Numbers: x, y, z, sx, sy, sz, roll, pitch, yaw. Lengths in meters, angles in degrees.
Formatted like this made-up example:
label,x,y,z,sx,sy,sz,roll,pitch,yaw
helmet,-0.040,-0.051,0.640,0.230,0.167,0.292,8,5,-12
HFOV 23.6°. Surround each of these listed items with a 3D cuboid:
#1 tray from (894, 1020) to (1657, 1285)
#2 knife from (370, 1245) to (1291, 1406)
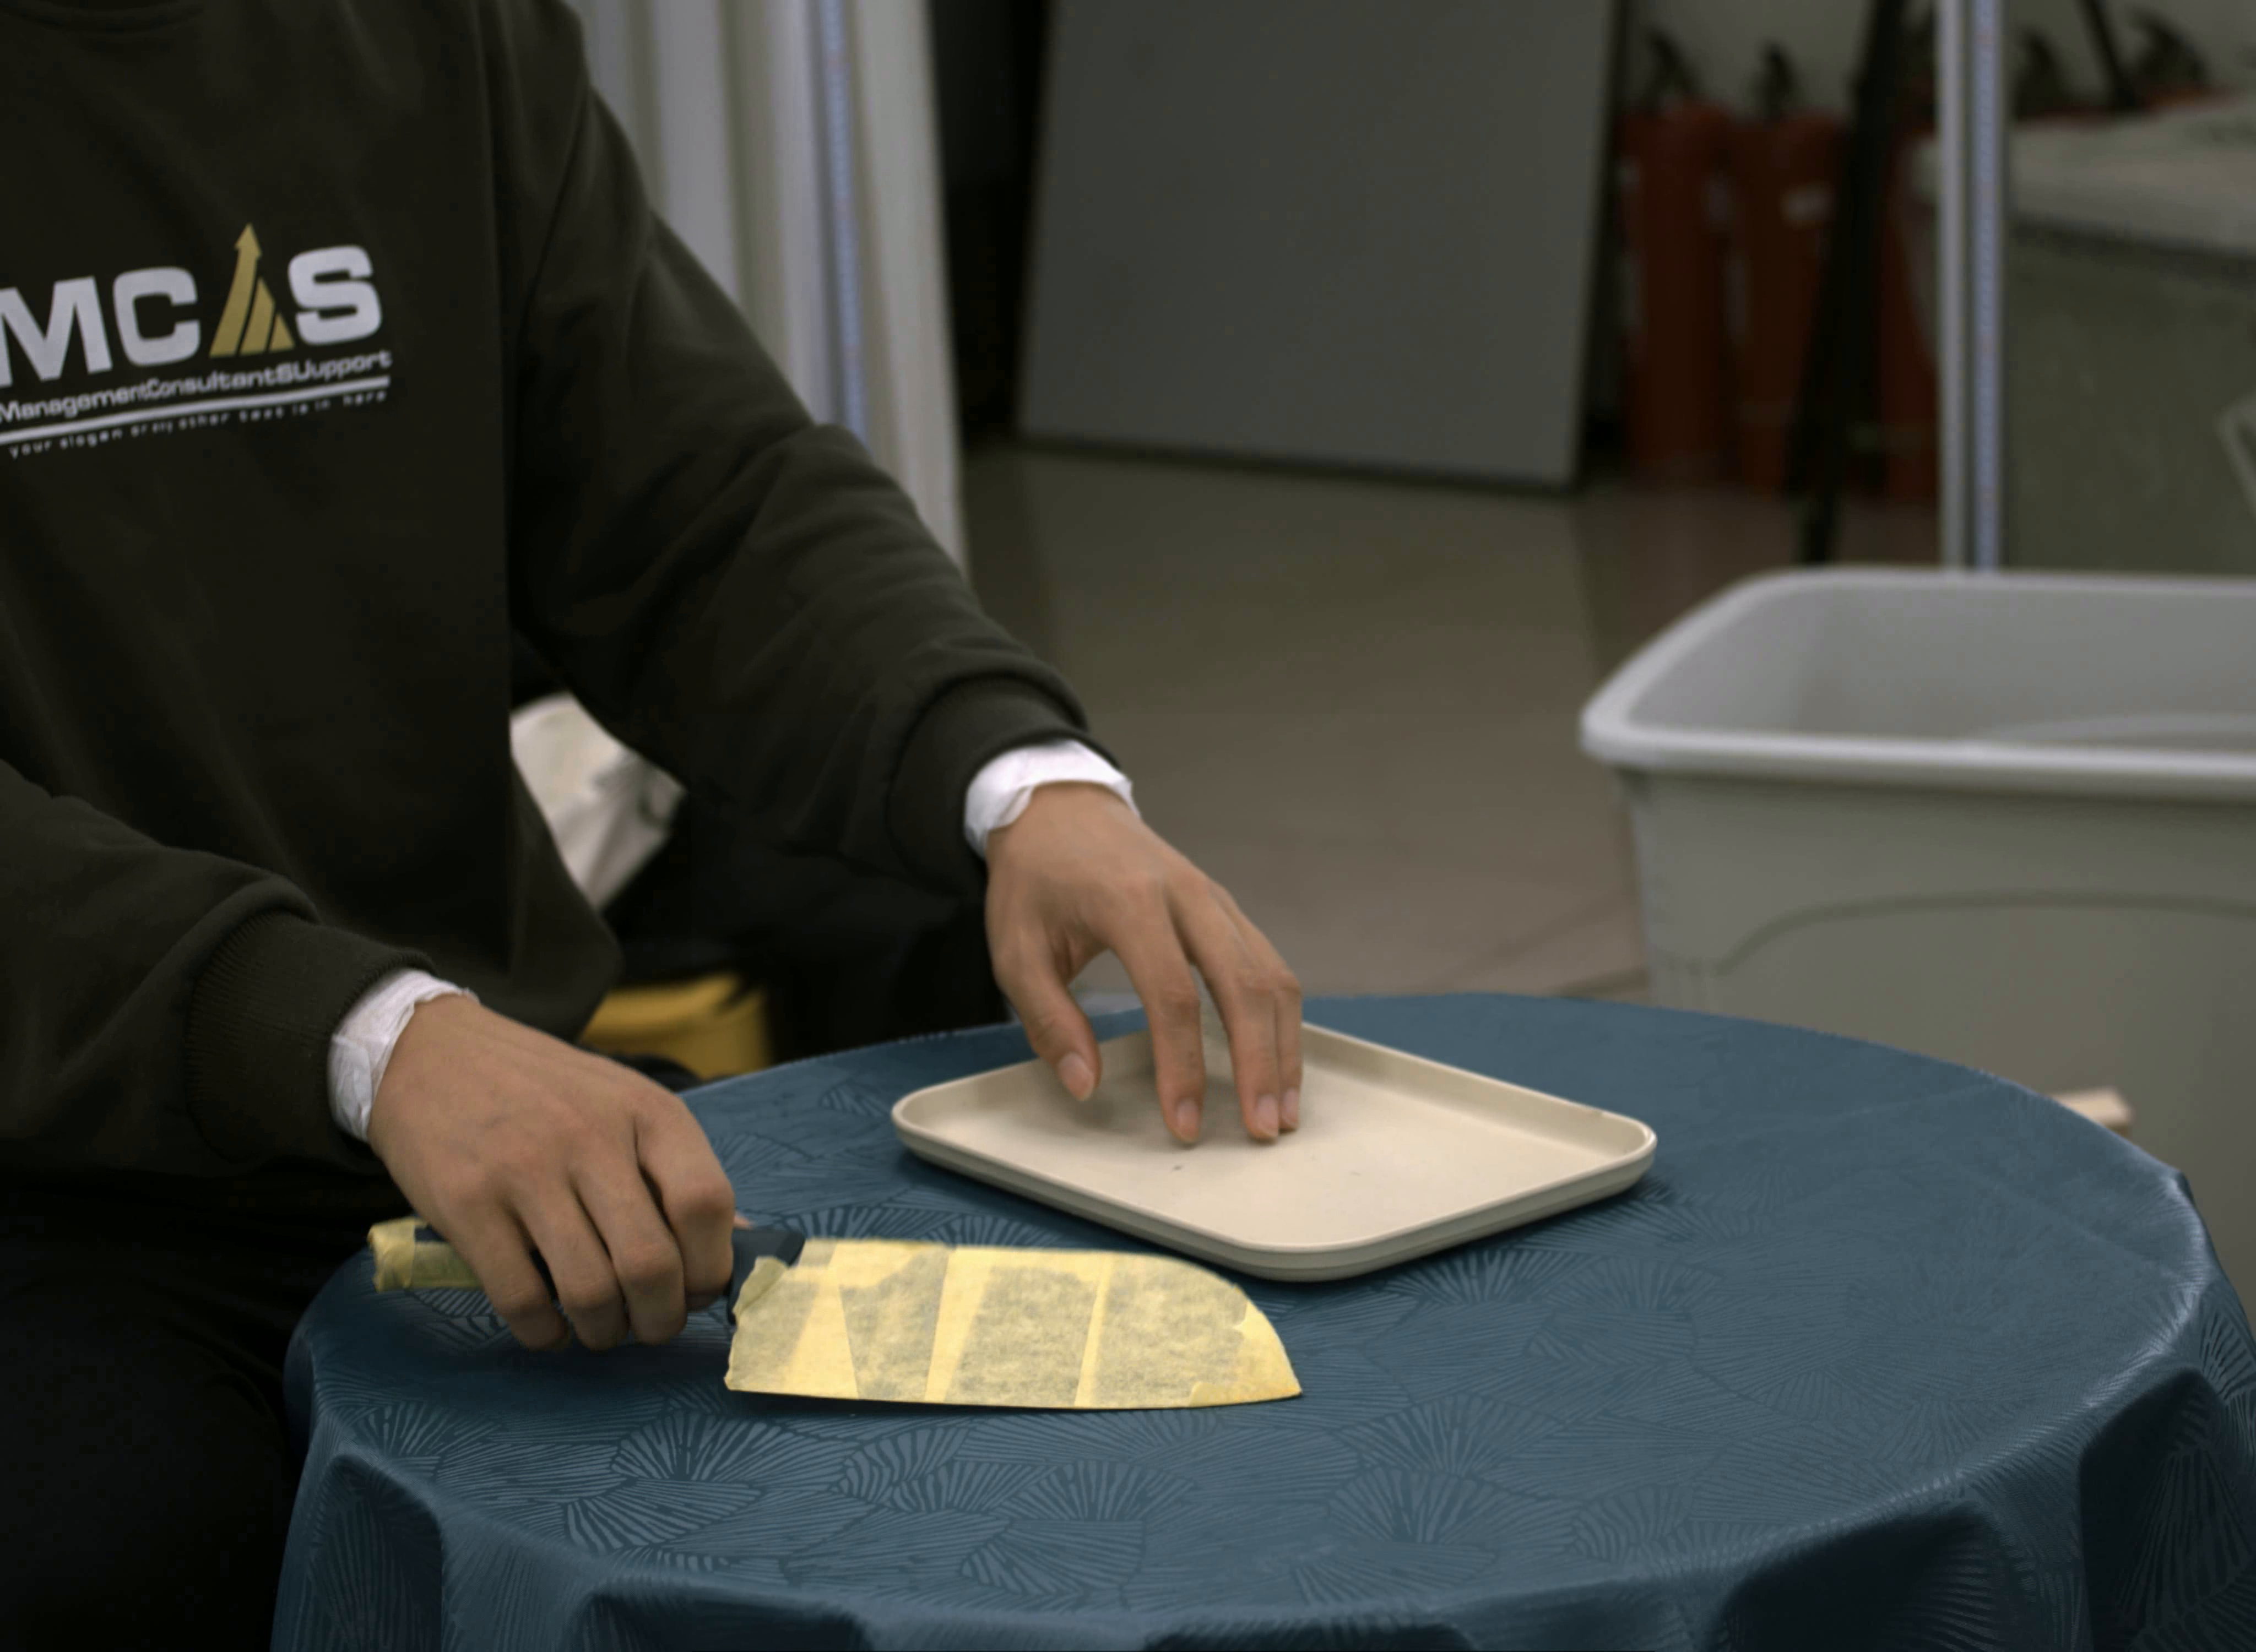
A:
label,x,y,z,sx,sy,sz,roll,pitch,yaw
tray,0.047,0.107,1.784,0.167,0.017,0.242,-14,16,-34
knife,-0.091,0.150,1.613,0.287,0.027,0.081,1,28,11
